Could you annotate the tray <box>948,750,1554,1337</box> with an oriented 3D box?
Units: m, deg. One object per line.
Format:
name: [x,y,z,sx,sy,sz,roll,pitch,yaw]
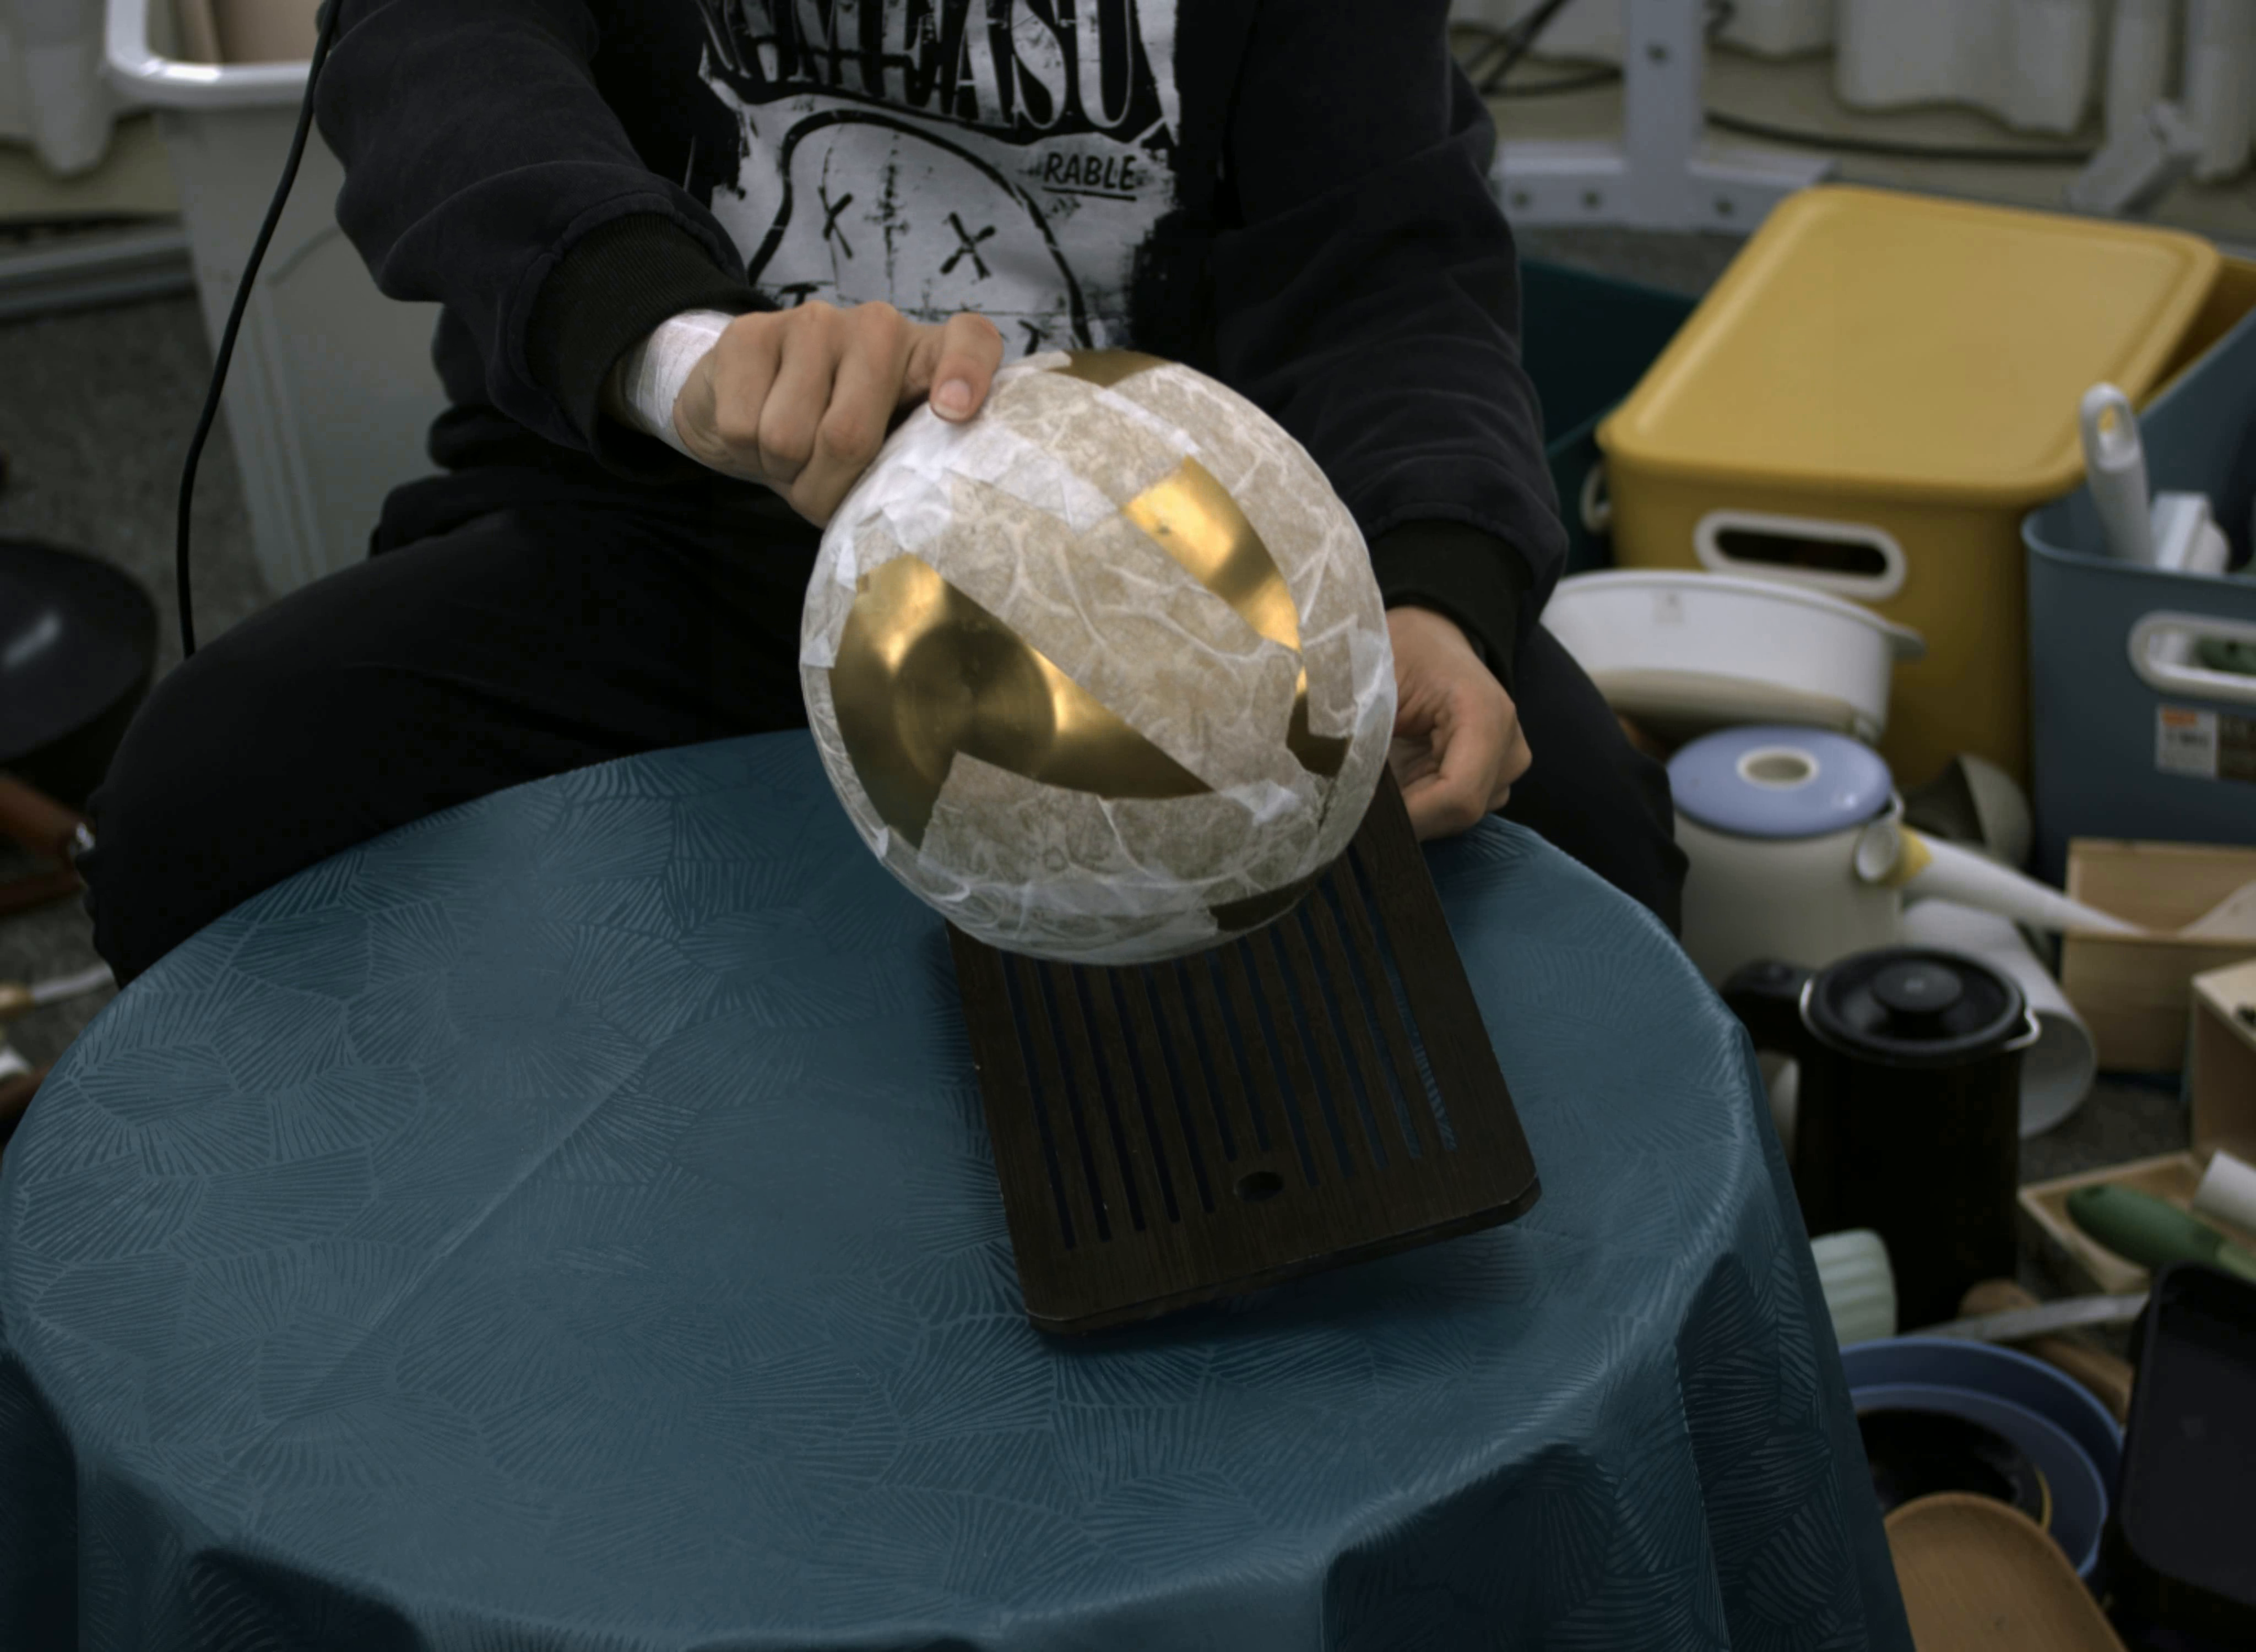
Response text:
tray: [0.035,0.070,1.902,0.169,0.018,0.310,-14,29,-1]

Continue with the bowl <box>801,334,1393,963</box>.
bowl: [-0.028,-0.045,1.774,0.213,0.213,0.095,12,18,27]
